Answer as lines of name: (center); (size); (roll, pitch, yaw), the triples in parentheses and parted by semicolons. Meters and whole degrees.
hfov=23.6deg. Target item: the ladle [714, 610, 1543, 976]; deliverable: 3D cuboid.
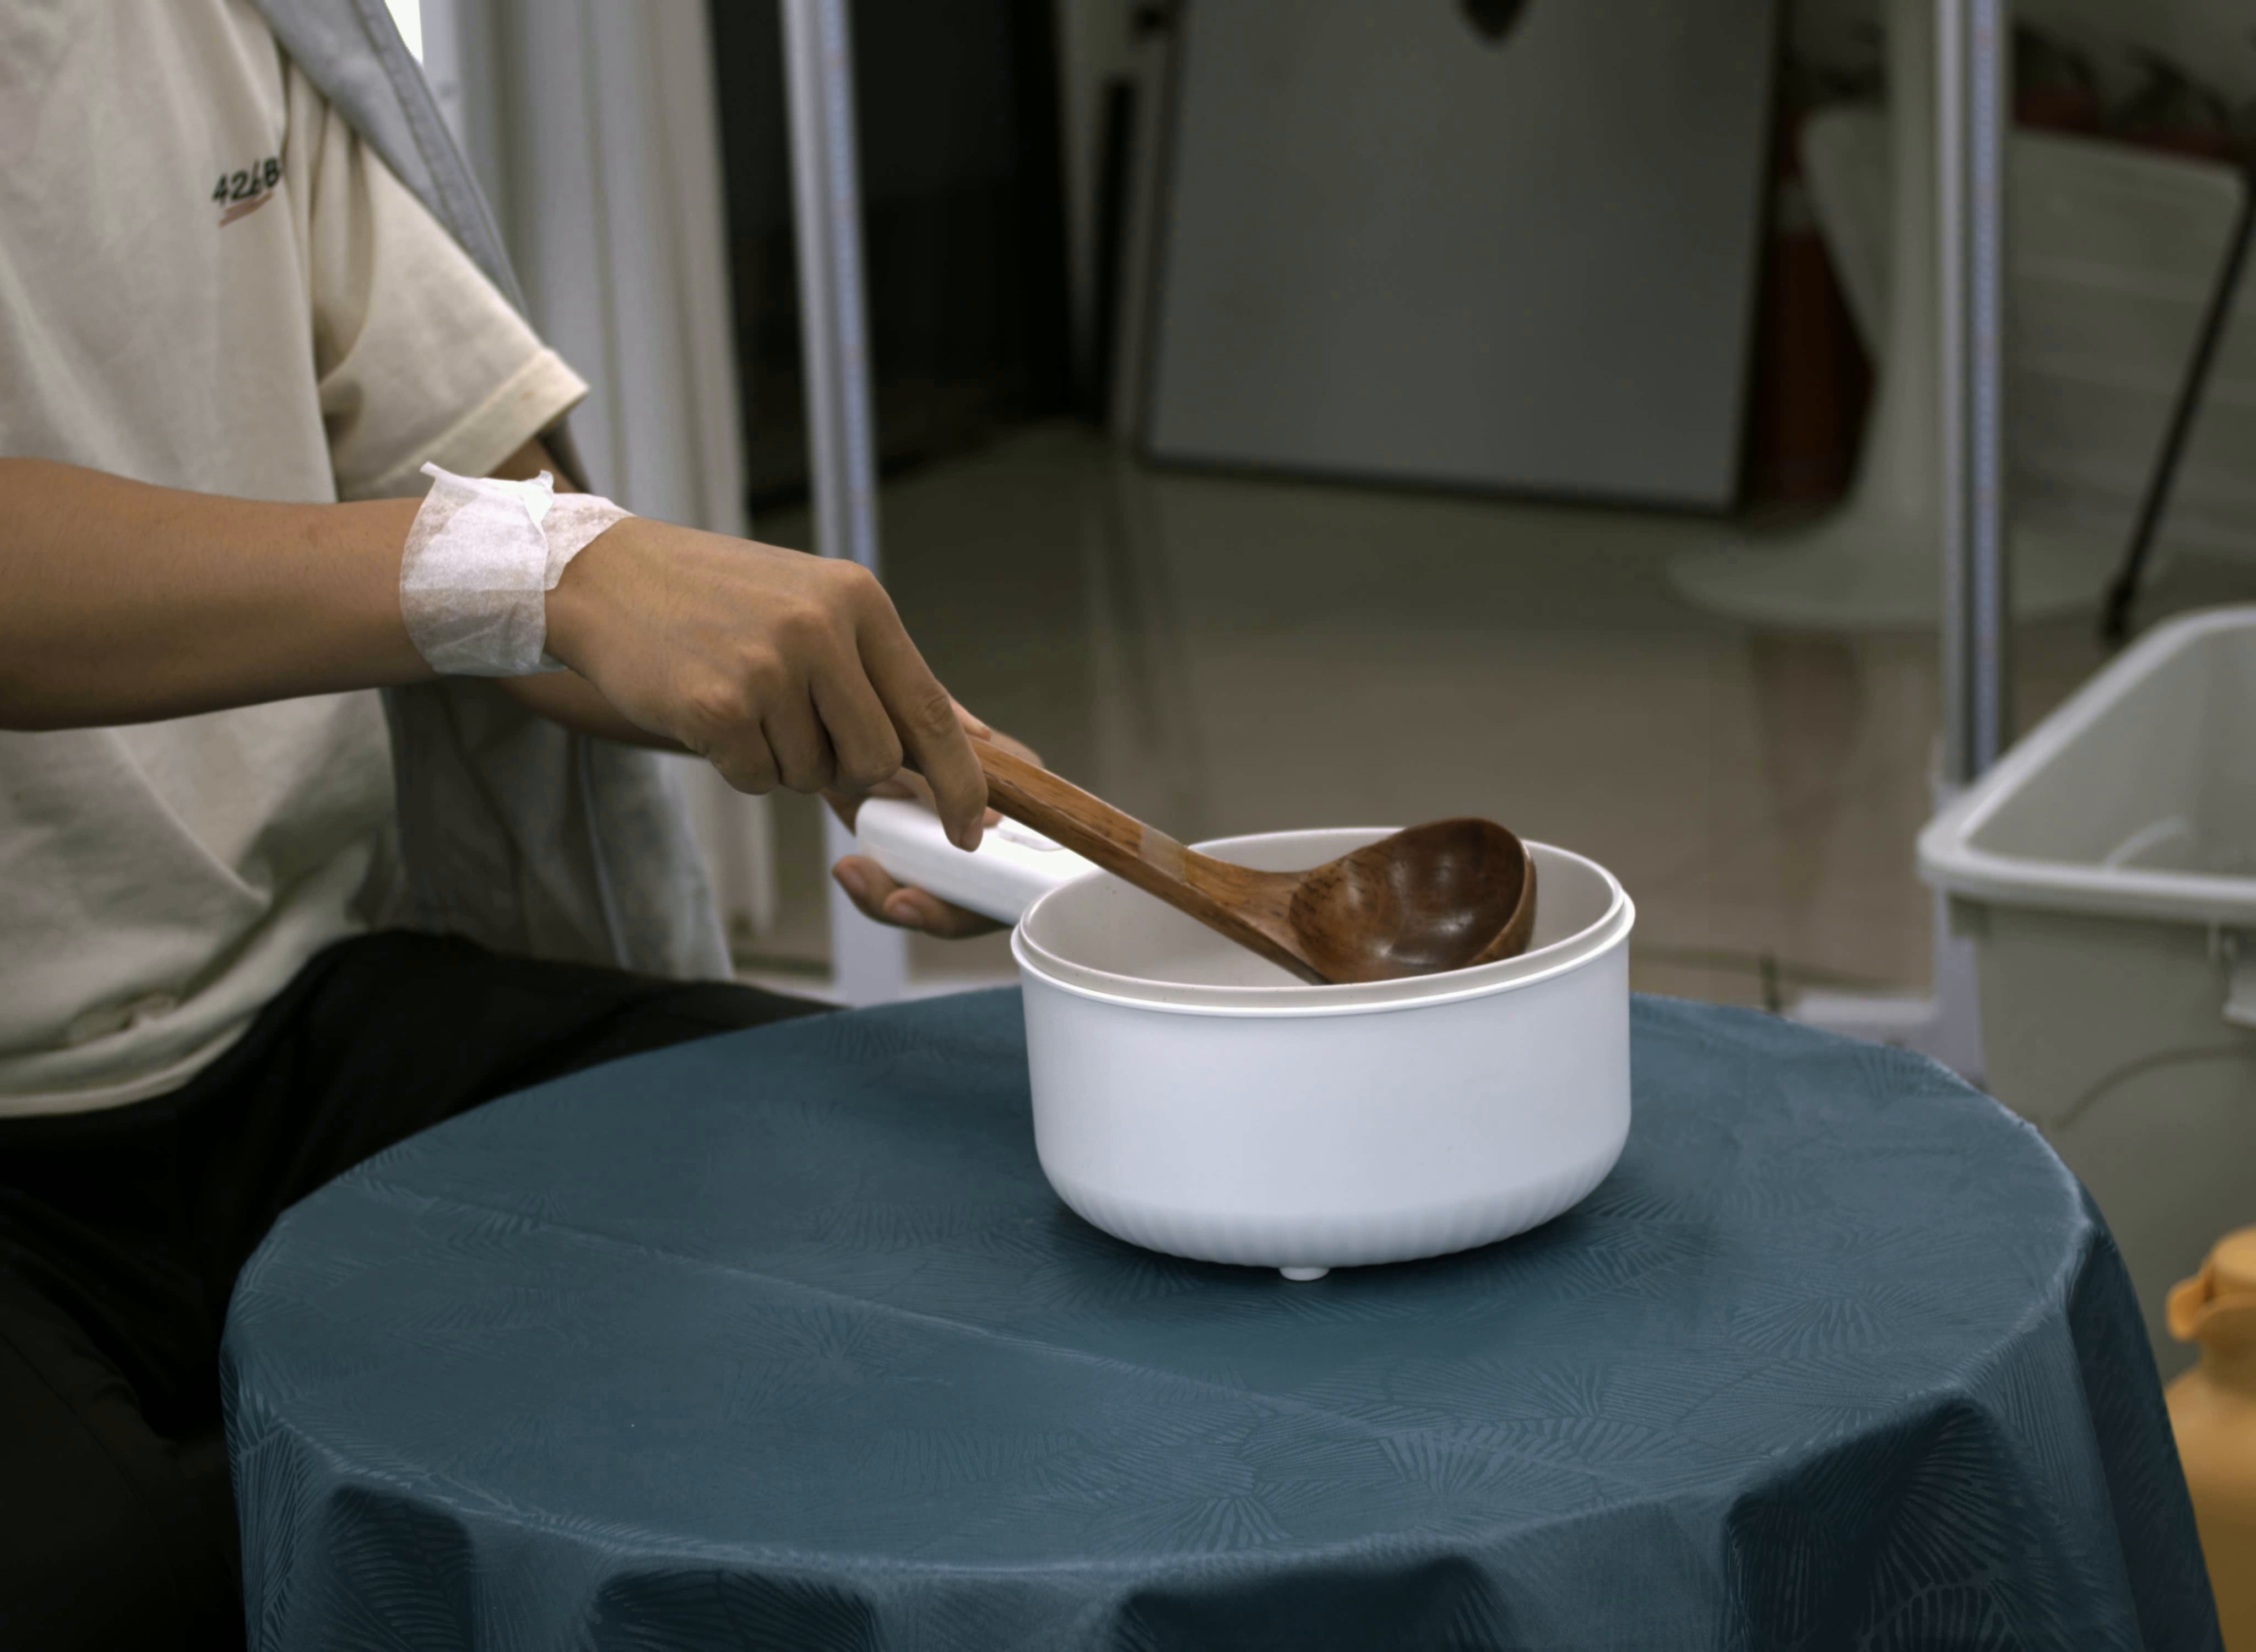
ladle: (0.004, -0.017, 1.697); (0.270, 0.077, 0.082); (28, 34, -12)

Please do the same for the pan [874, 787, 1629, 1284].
pan: (0.022, 0.062, 1.801); (0.197, 0.103, 0.358); (-13, 16, -31)
